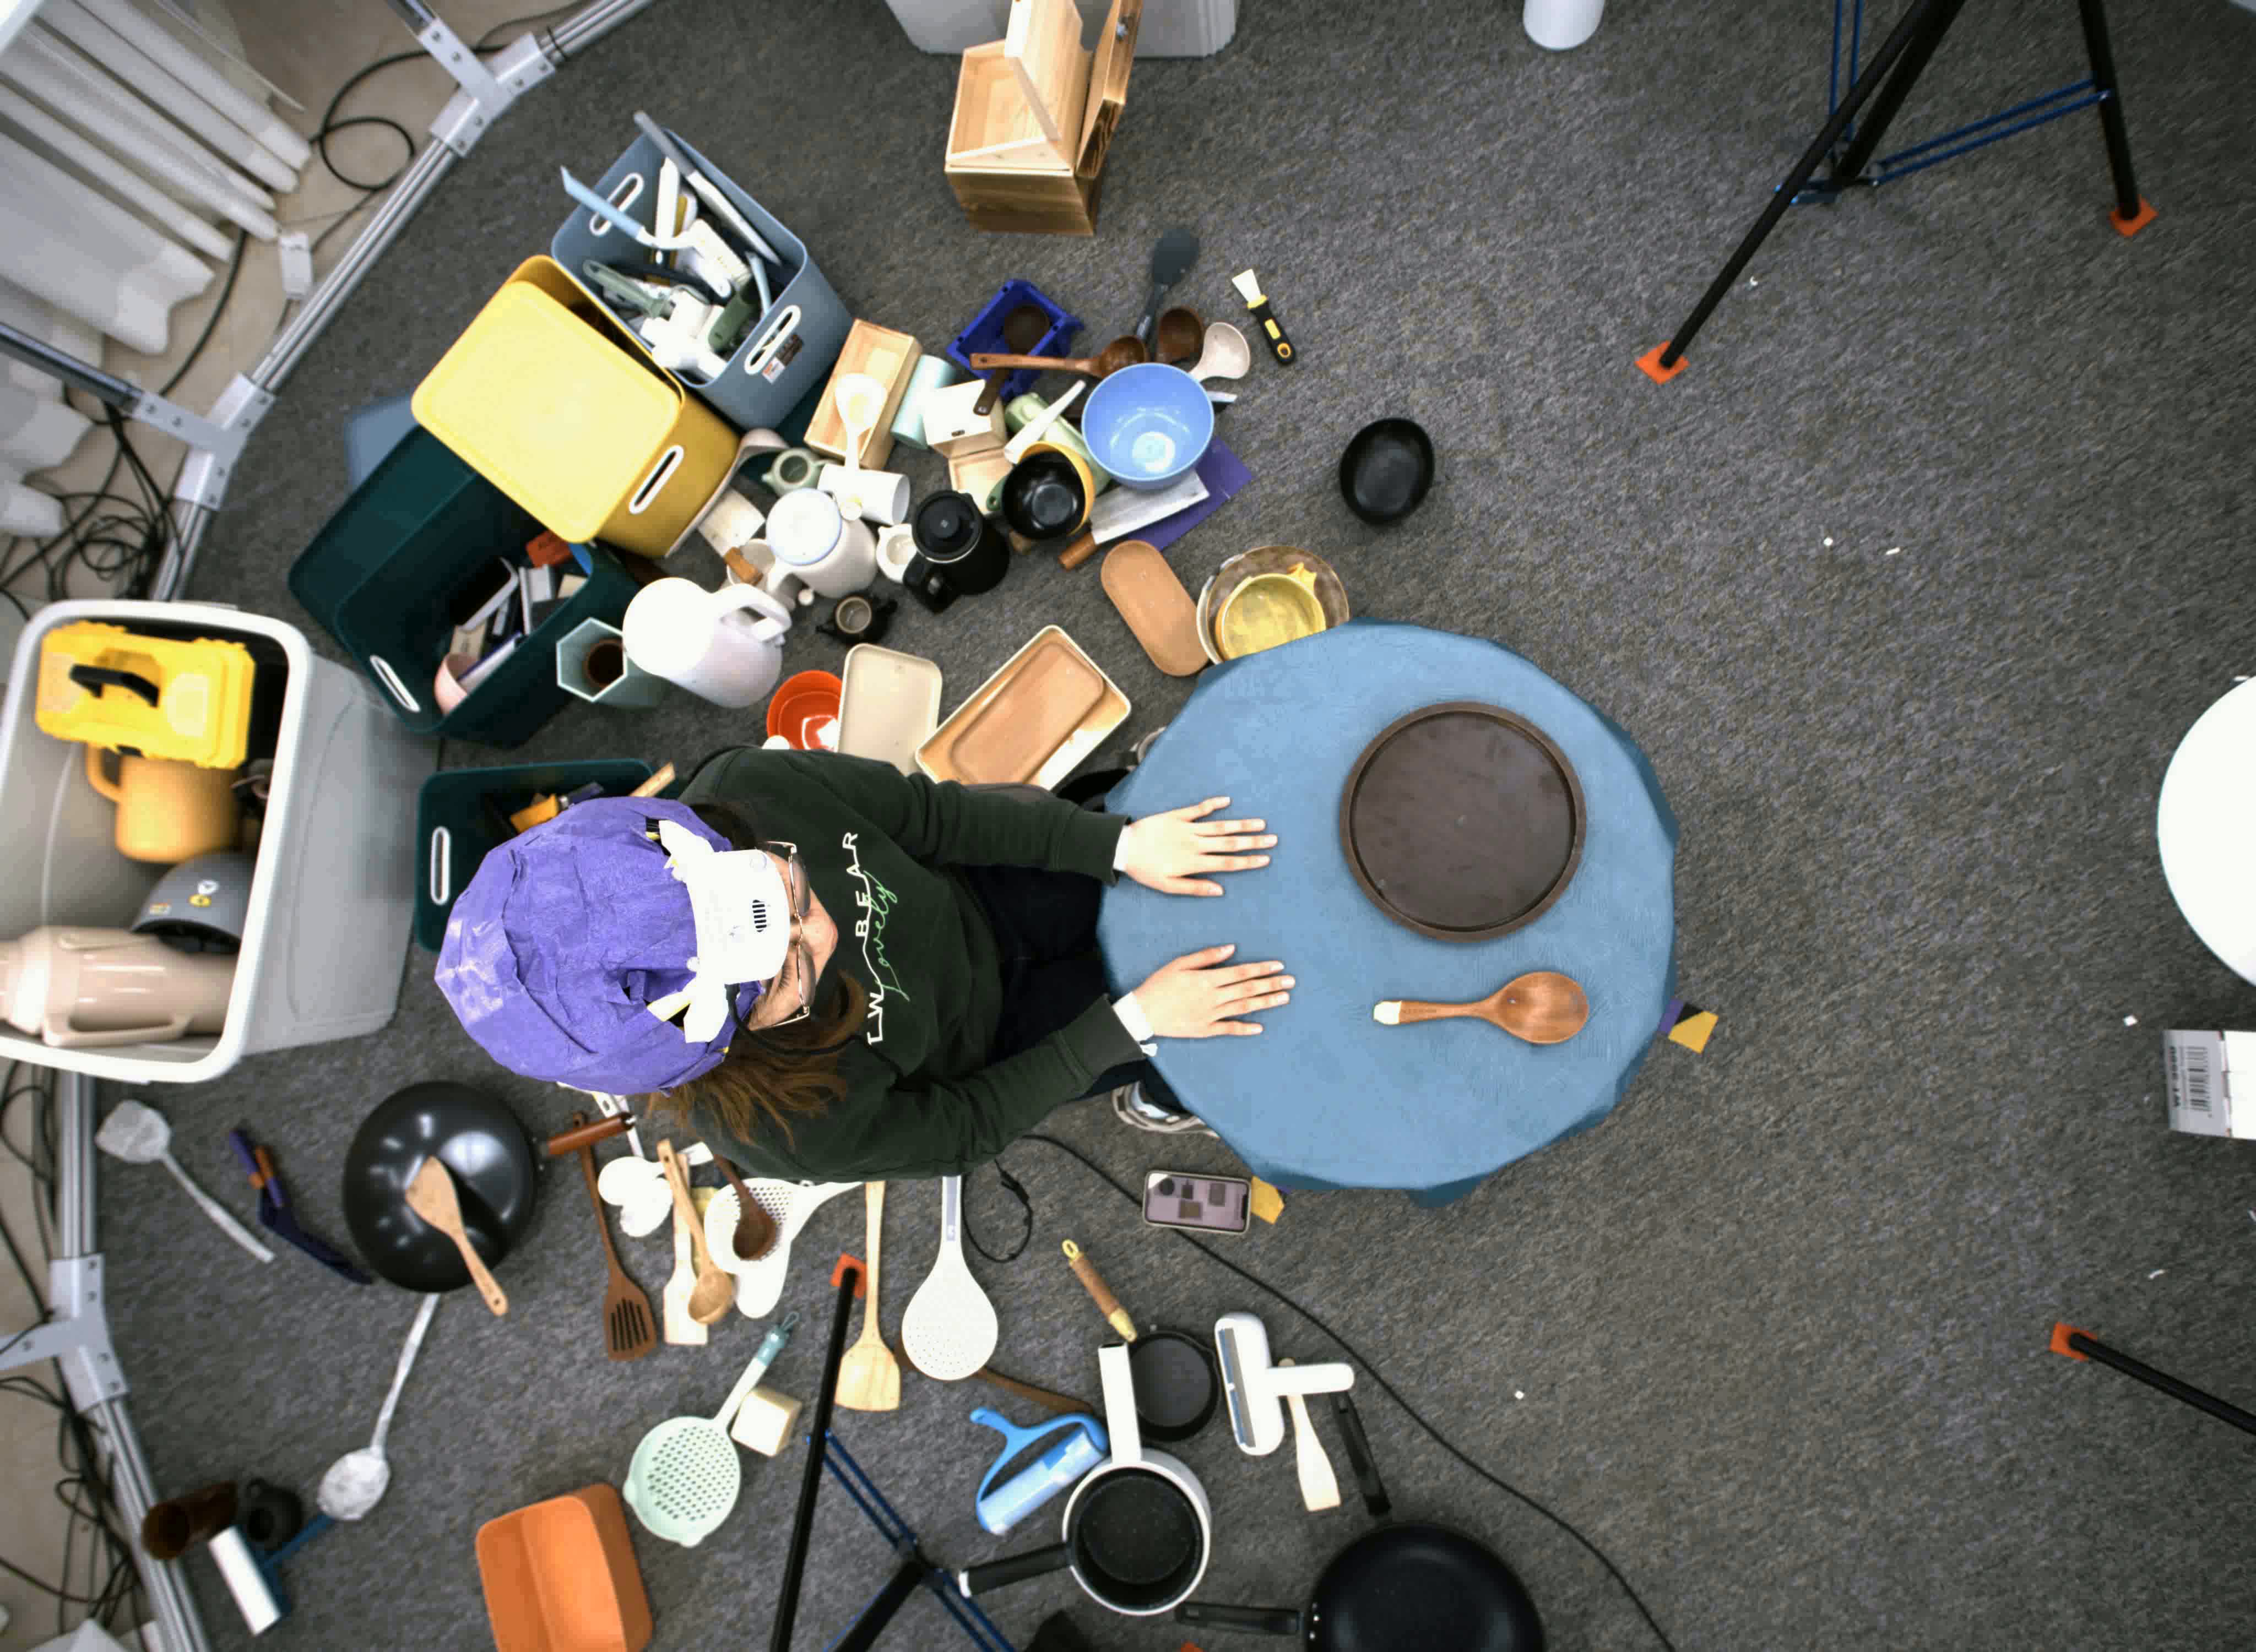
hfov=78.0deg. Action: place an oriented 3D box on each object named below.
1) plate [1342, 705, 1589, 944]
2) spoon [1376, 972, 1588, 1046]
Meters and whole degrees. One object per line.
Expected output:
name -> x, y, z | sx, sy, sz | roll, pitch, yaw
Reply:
plate -> 0.352, -0.004, 1.444 | 0.256, 0.029, 0.253 | -1, 85, 9
spoon -> 0.366, 0.190, 1.430 | 0.217, 0.017, 0.075 | -4, 85, 10
